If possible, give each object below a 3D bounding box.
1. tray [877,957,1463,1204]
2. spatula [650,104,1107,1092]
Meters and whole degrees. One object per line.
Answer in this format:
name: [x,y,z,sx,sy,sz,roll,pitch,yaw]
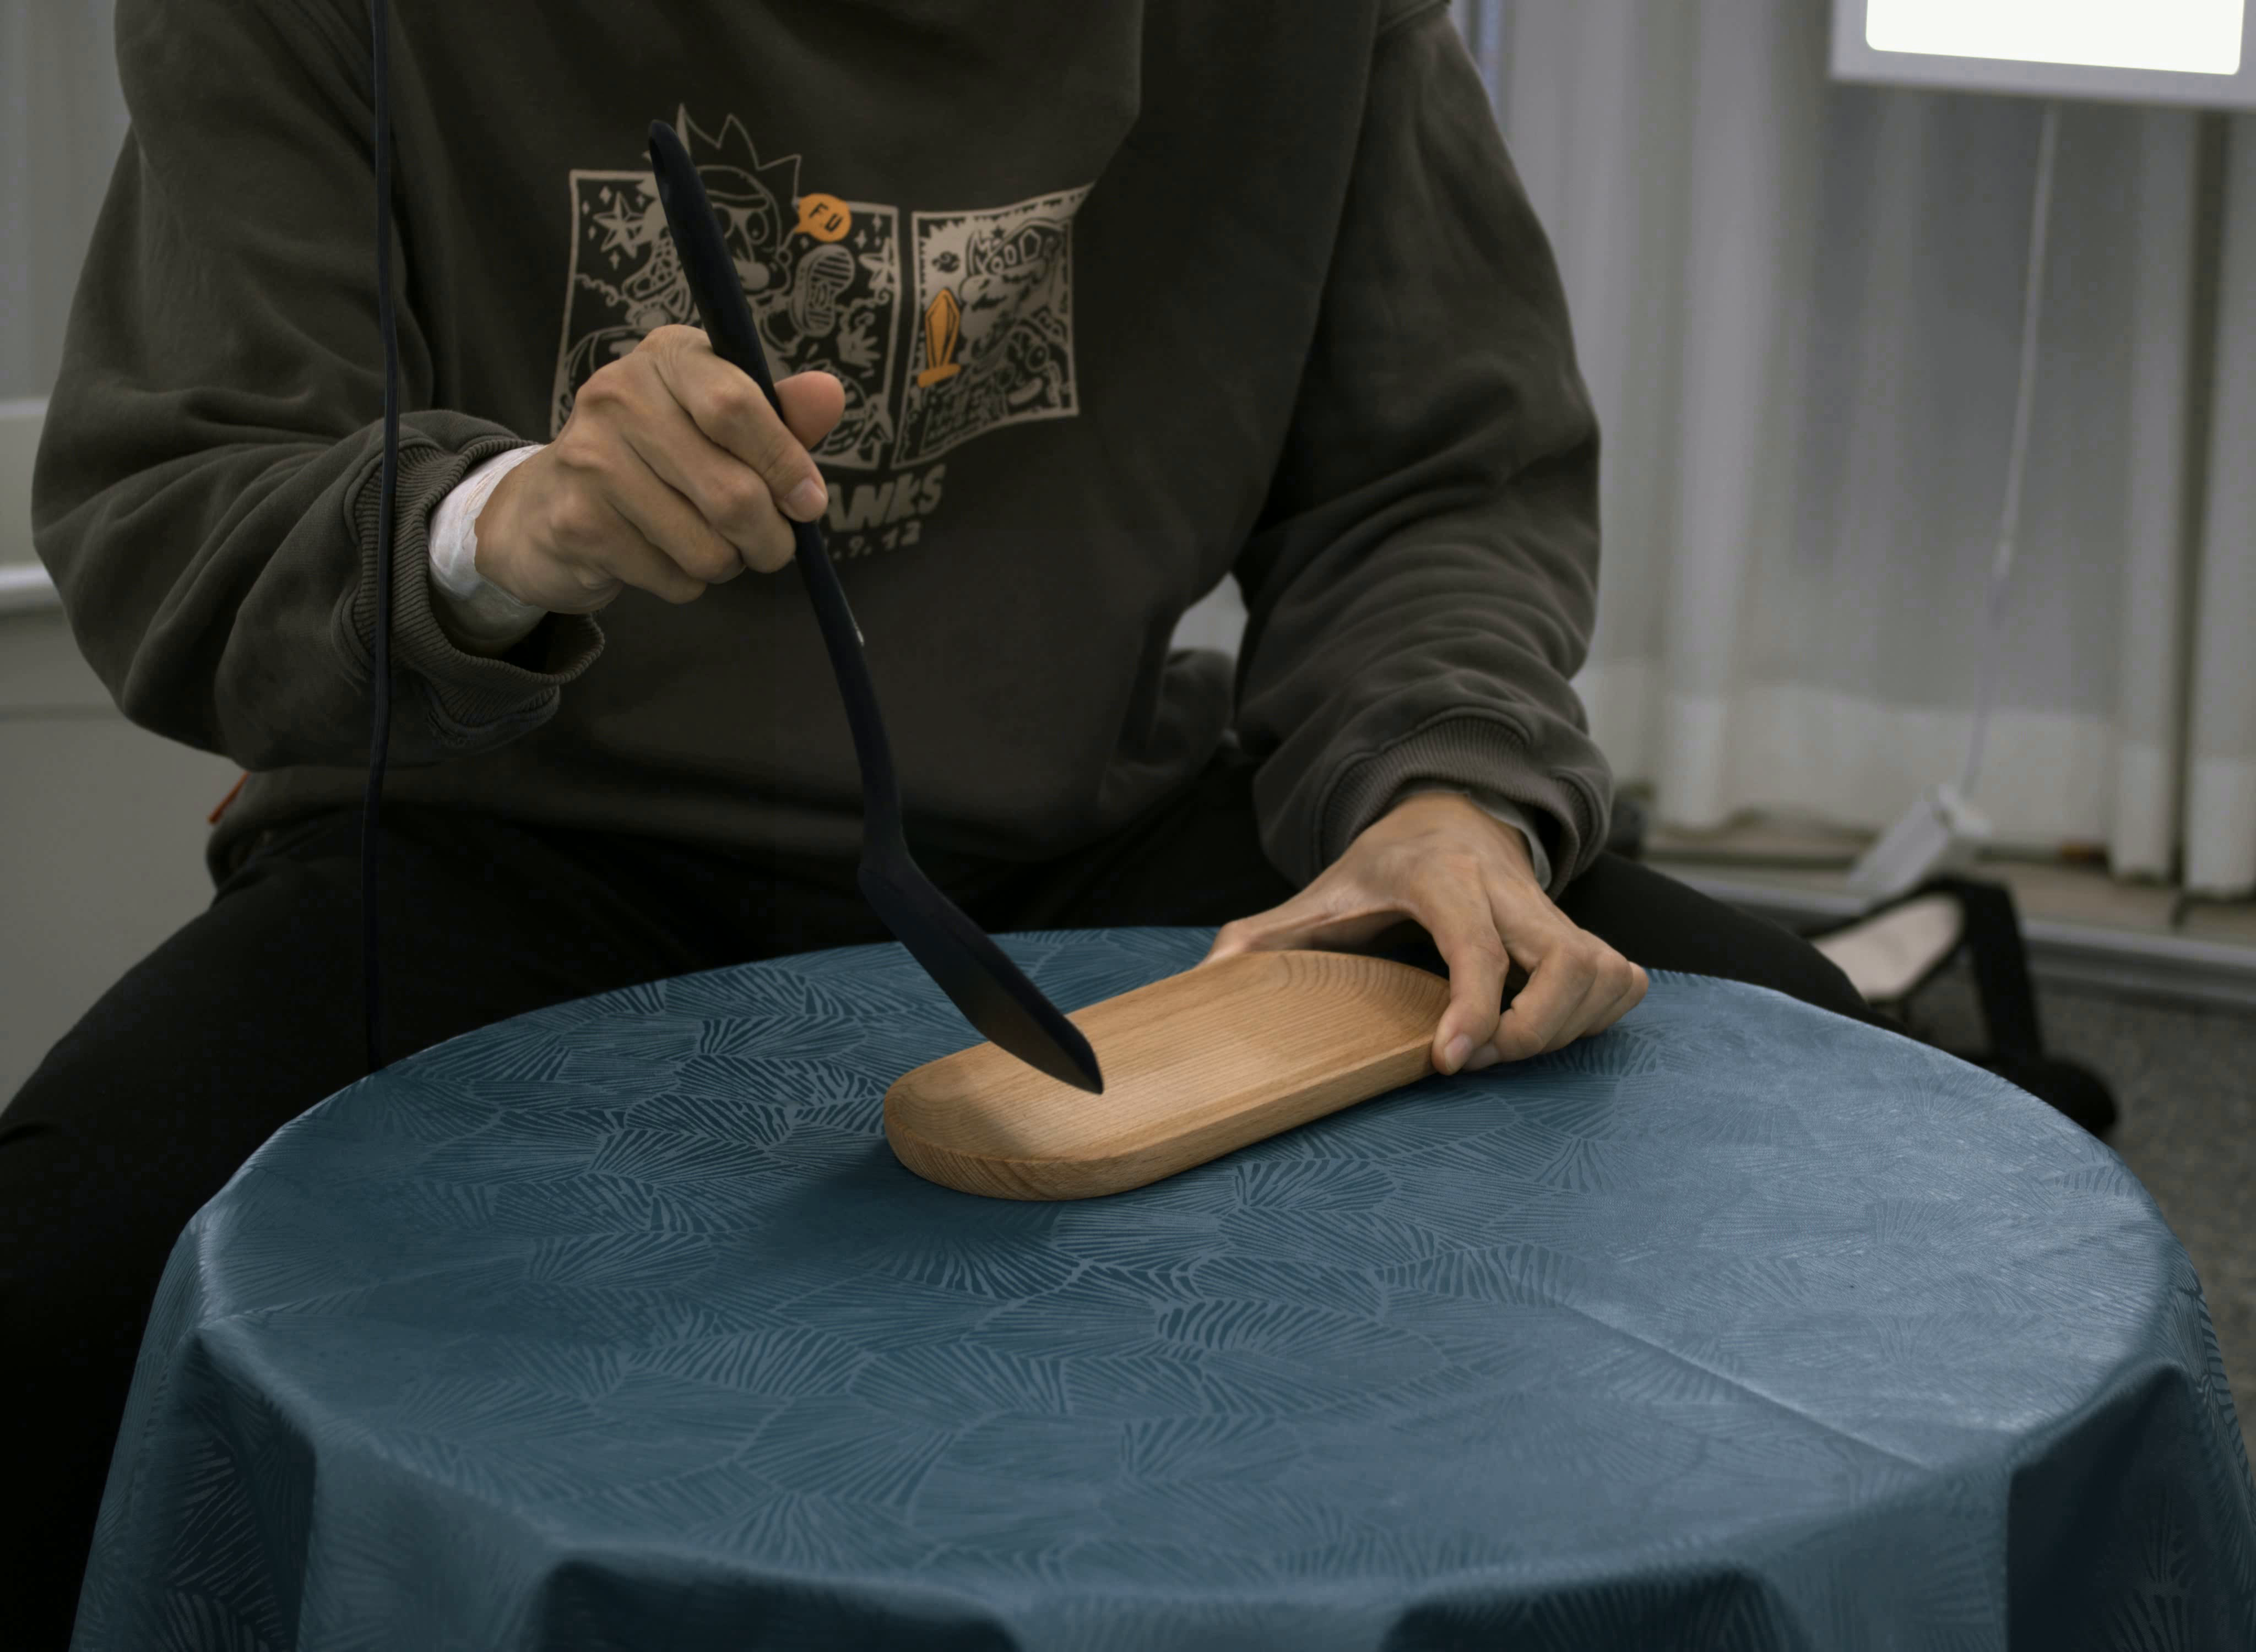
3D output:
tray: [0.016,0.081,1.706,0.100,0.020,0.232,17,25,40]
spatula: [-0.082,-0.065,1.589,0.040,0.329,0.098,-24,20,-24]
